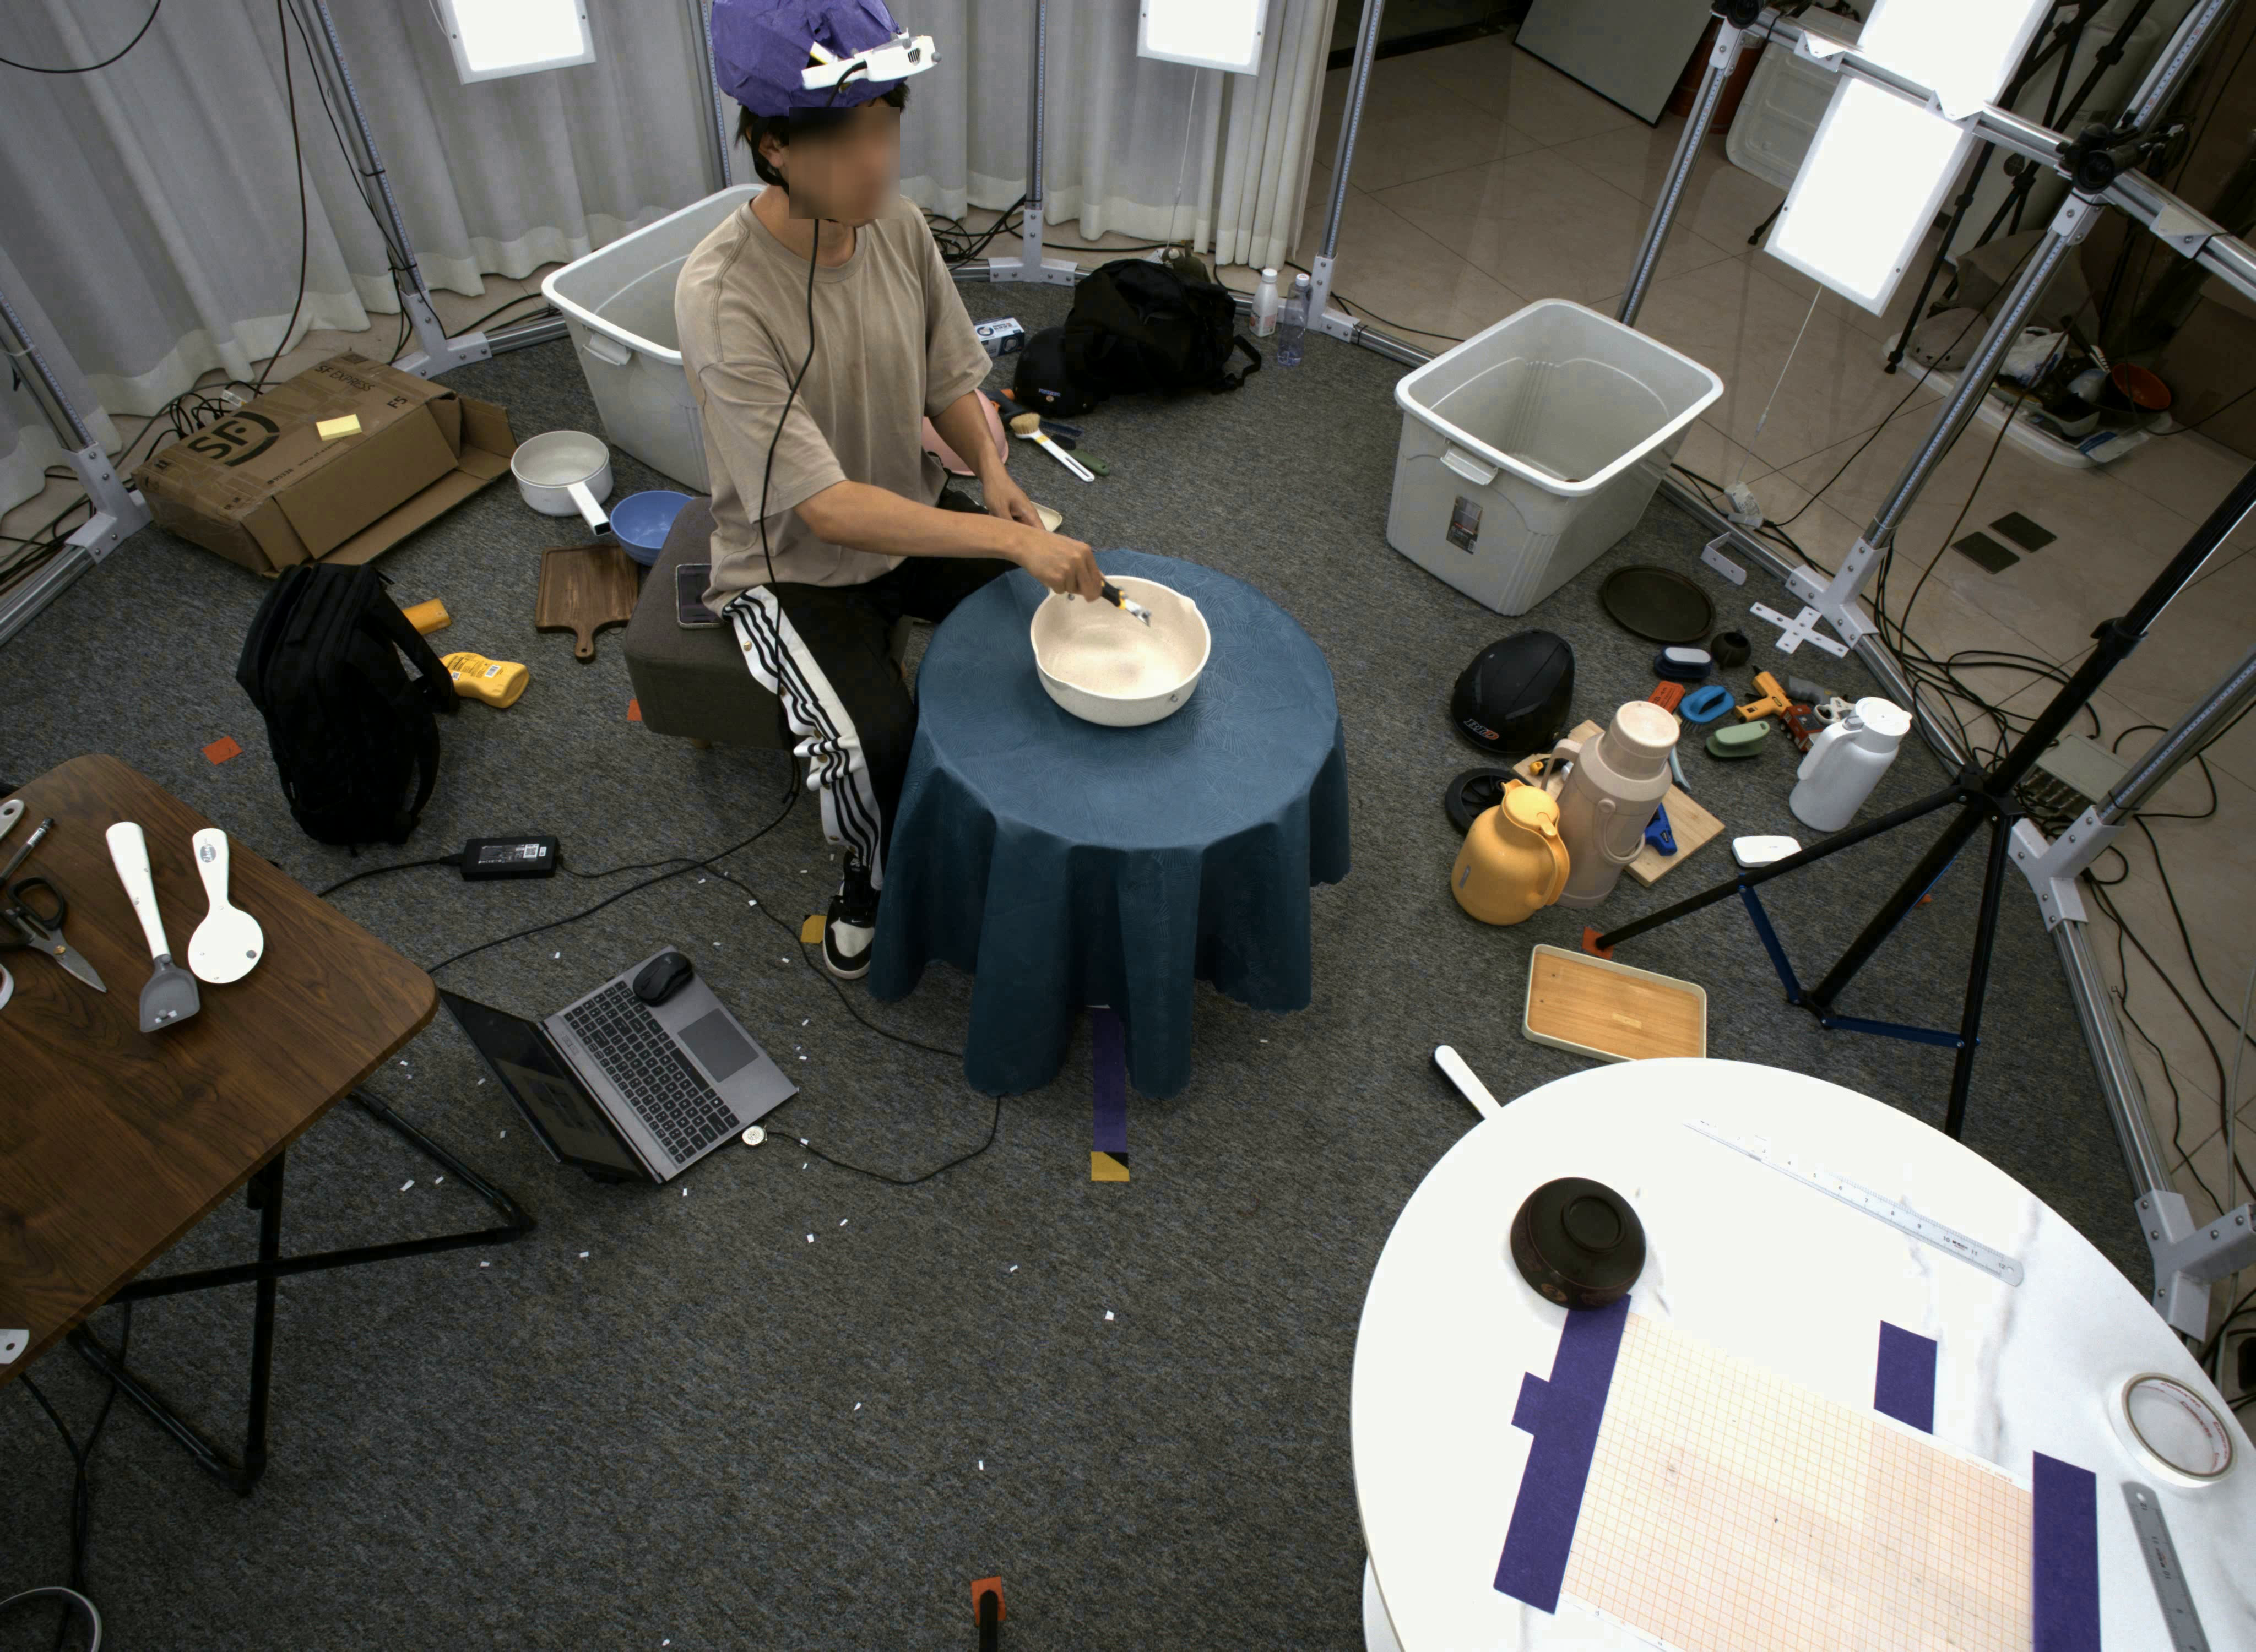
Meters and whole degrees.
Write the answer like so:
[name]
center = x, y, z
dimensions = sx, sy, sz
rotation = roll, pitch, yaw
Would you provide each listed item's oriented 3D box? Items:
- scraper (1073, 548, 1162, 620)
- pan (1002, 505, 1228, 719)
[scraper]
center = -0.012, -0.338, 1.794
dimensions = 0.168, 0.015, 0.039
rotation = 26, 50, -38
[pan]
center = -0.044, -0.315, 1.864
dimensions = 0.265, 0.099, 0.442
rotation = -30, 58, -25
